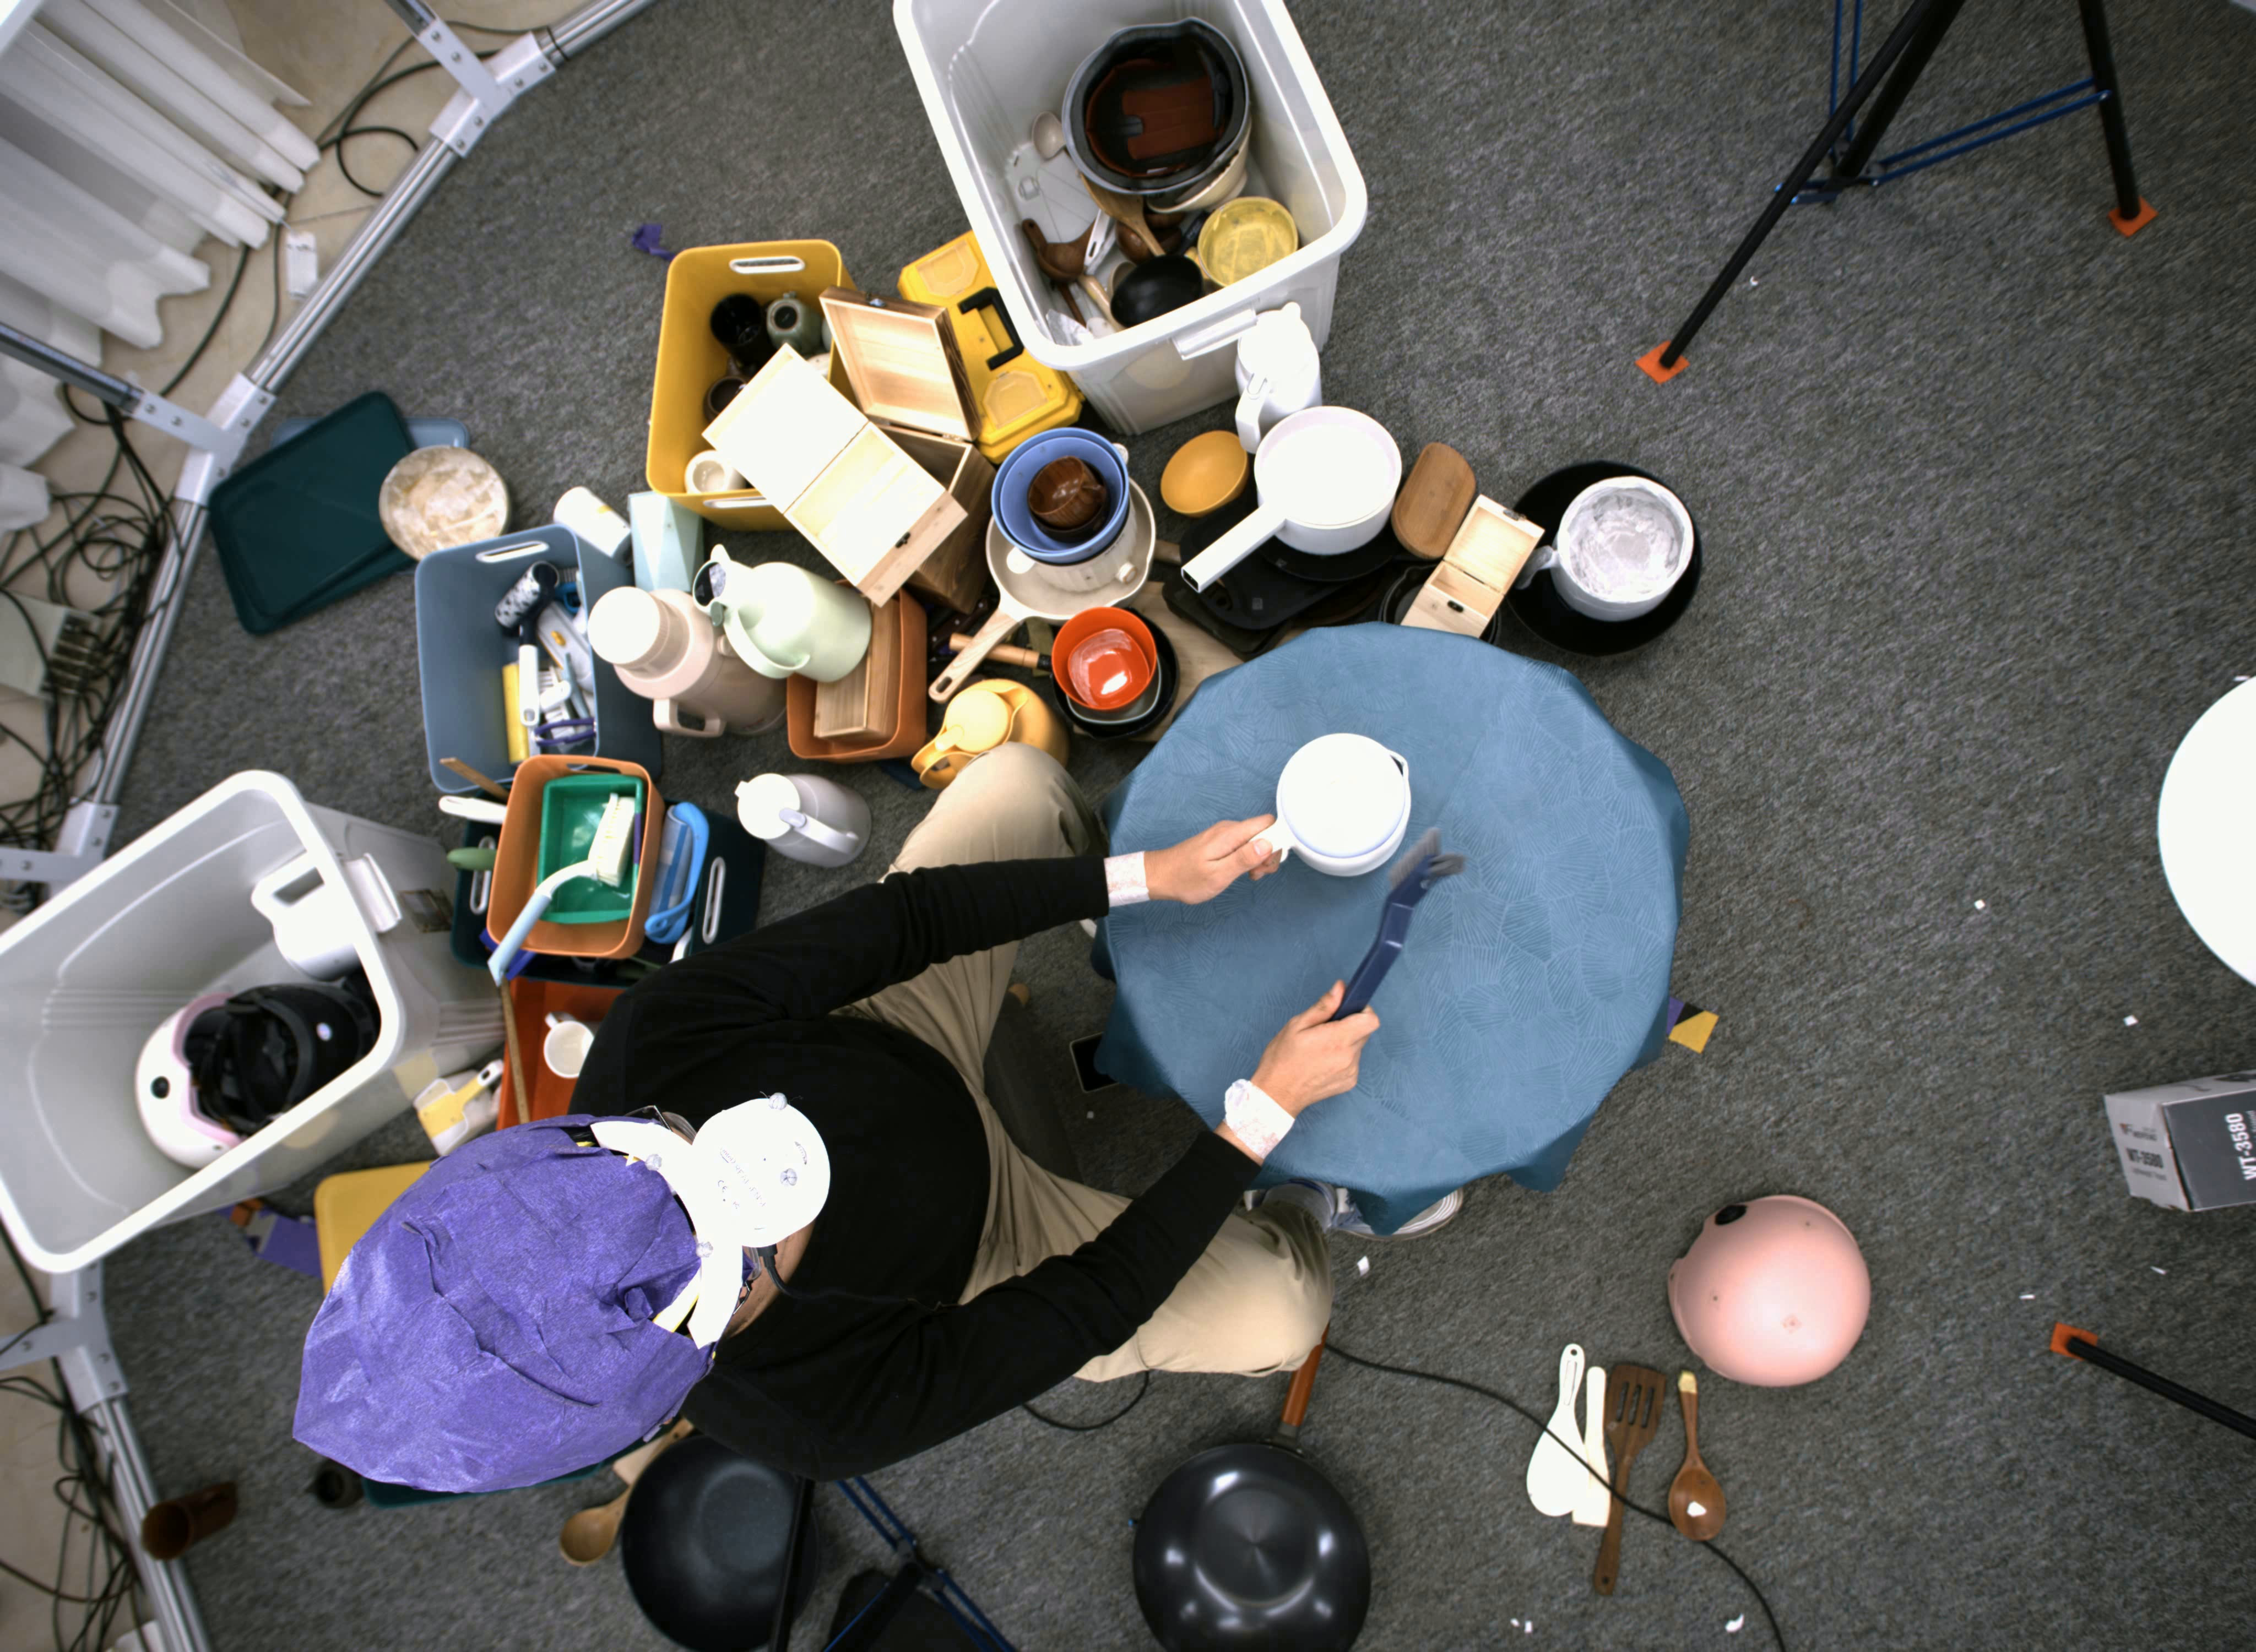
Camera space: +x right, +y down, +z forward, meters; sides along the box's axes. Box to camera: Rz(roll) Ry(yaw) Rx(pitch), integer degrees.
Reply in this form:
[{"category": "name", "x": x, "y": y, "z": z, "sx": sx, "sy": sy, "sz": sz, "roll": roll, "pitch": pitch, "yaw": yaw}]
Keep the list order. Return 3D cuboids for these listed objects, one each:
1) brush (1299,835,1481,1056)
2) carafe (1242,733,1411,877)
[{"category": "brush", "x": 0.241, "y": 0.127, "z": 1.304, "sx": 0.033, "sy": 0.094, "sz": 0.279, "roll": 11, "pitch": 118, "yaw": -23}, {"category": "carafe", "x": 0.196, "y": -0.008, "z": 1.391, "sx": 0.192, "sy": 0.182, "sz": 0.131, "roll": -32, "pitch": 80, "yaw": 7}]
